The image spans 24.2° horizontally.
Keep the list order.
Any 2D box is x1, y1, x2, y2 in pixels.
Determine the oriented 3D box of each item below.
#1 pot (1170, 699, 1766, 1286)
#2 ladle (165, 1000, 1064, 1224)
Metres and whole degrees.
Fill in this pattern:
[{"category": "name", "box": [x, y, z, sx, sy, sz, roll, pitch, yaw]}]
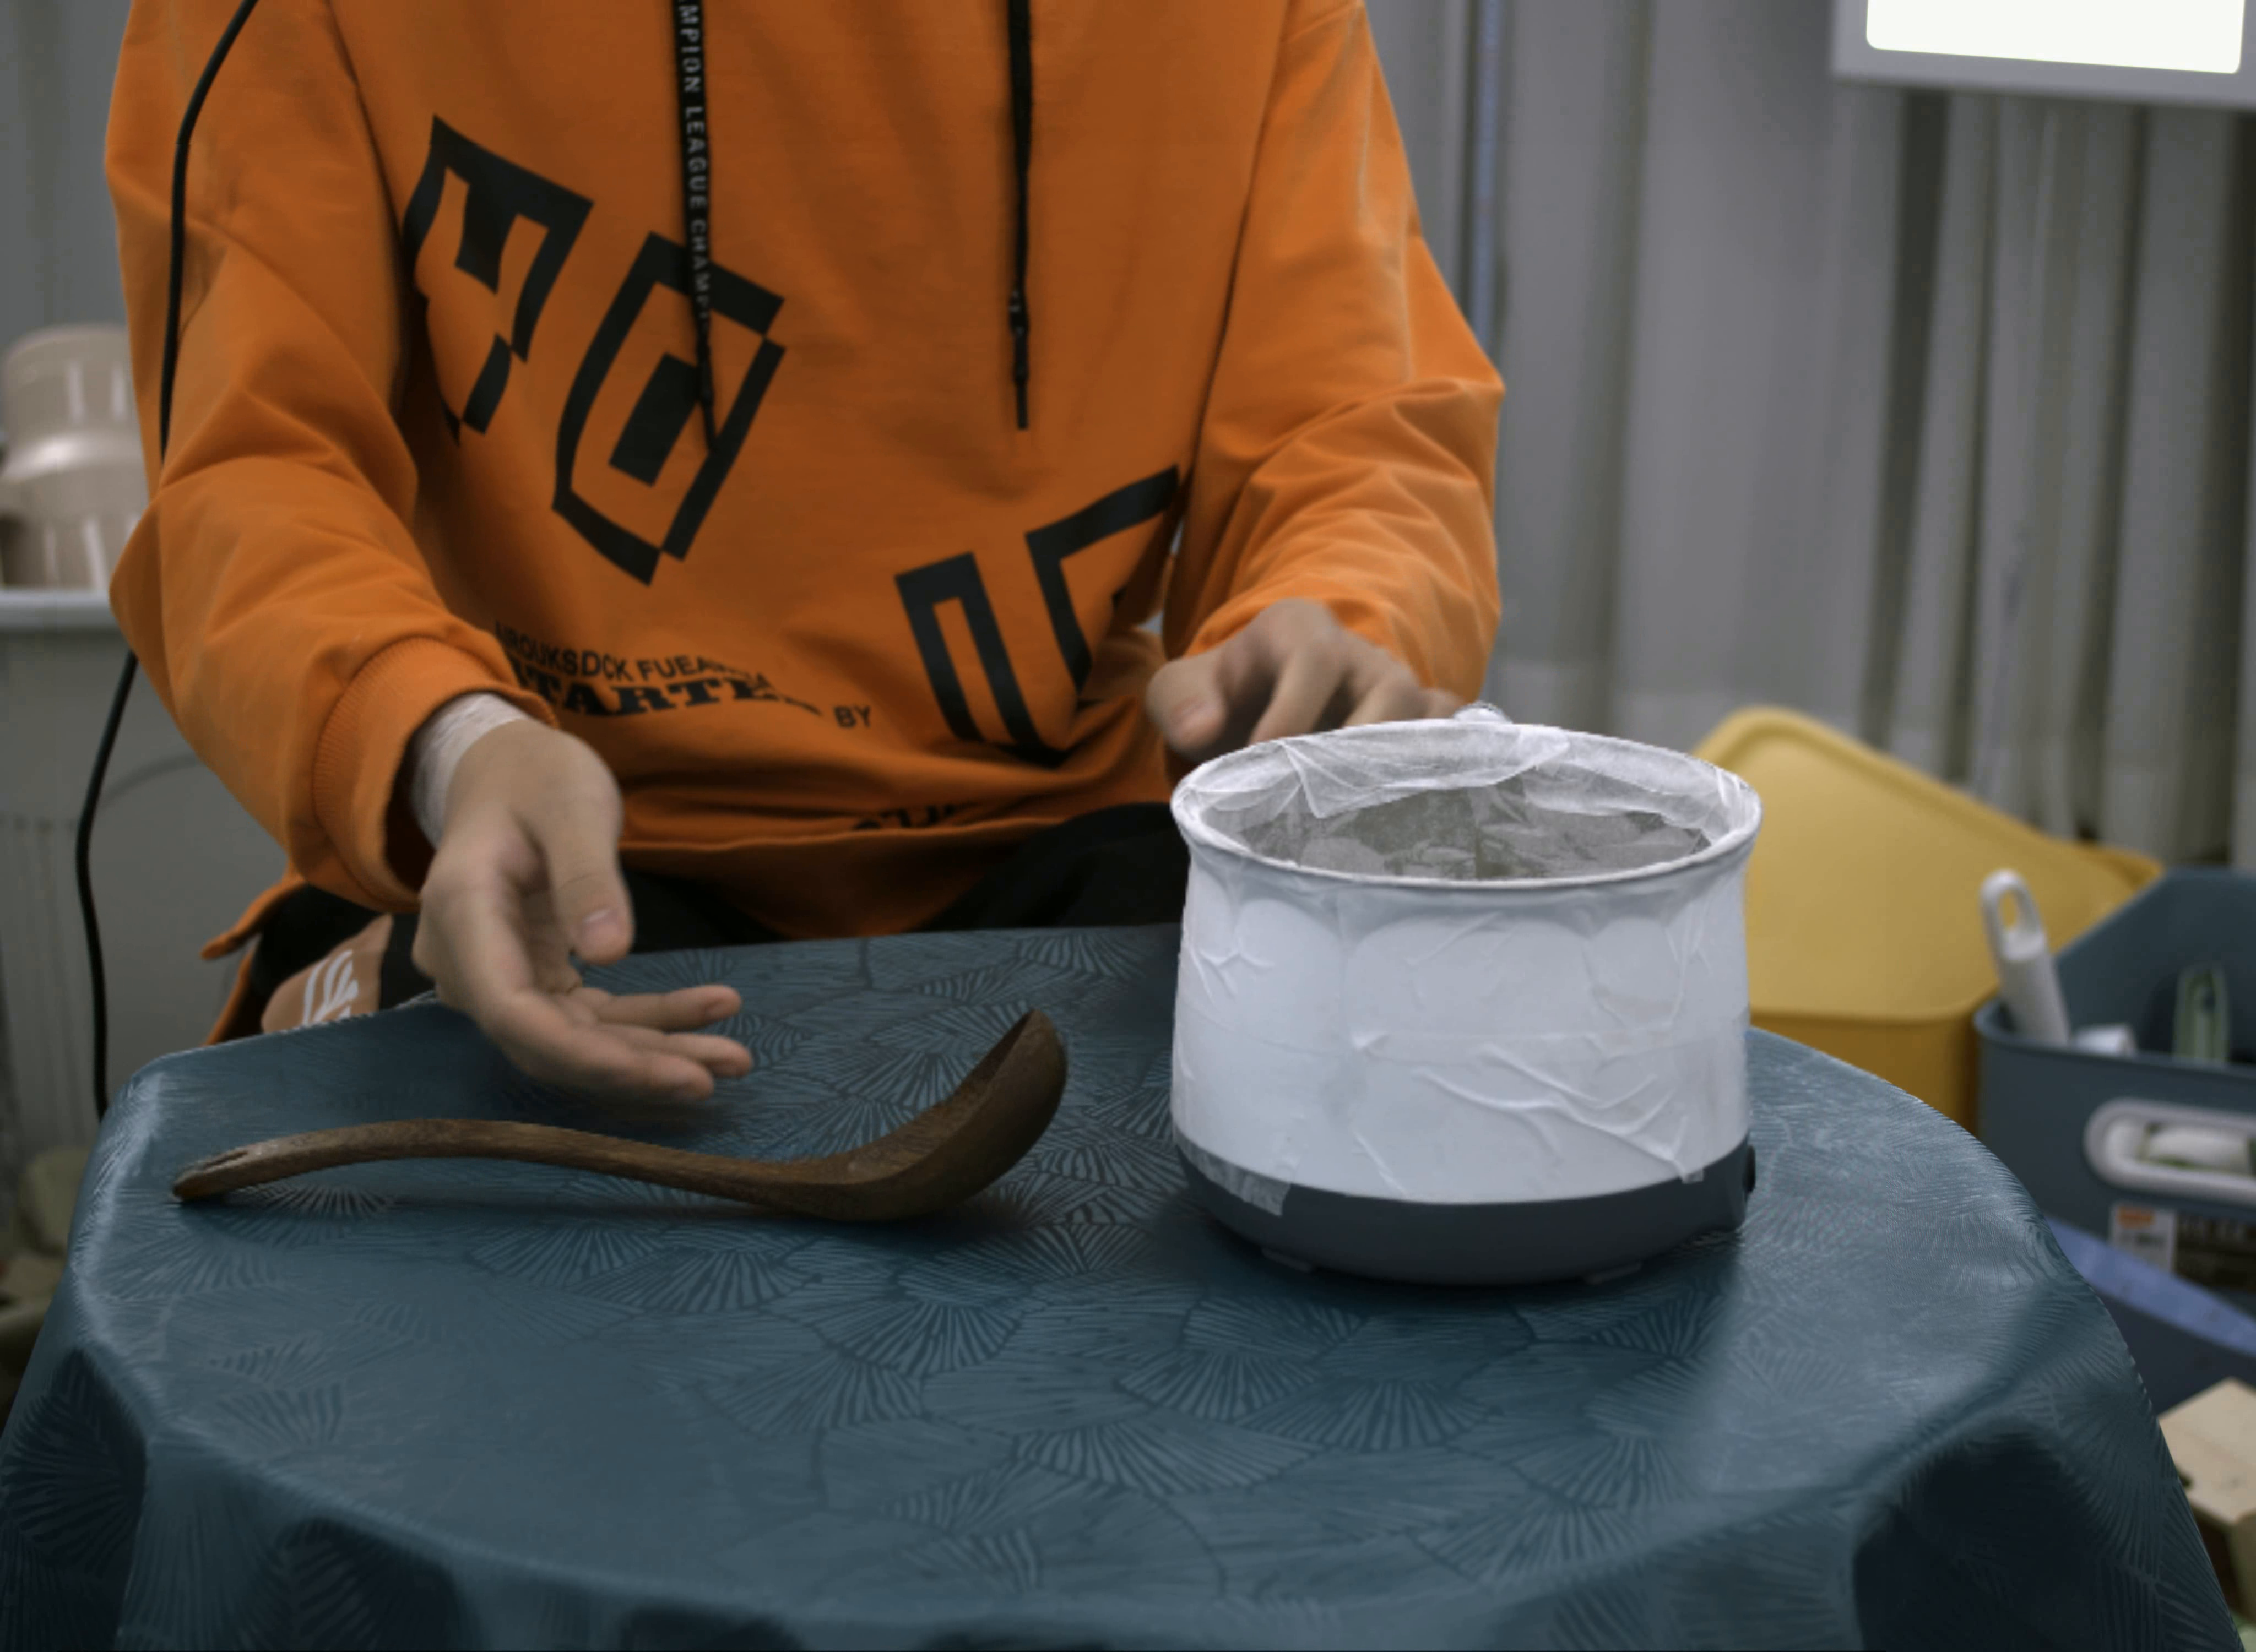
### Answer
[{"category": "pot", "box": [0.103, 0.045, 1.609, 0.178, 0.138, 0.233, 2, 16, 4]}, {"category": "ladle", "box": [-0.156, 0.082, 1.593, 0.273, 0.072, 0.076, 2, 8, 4]}]
